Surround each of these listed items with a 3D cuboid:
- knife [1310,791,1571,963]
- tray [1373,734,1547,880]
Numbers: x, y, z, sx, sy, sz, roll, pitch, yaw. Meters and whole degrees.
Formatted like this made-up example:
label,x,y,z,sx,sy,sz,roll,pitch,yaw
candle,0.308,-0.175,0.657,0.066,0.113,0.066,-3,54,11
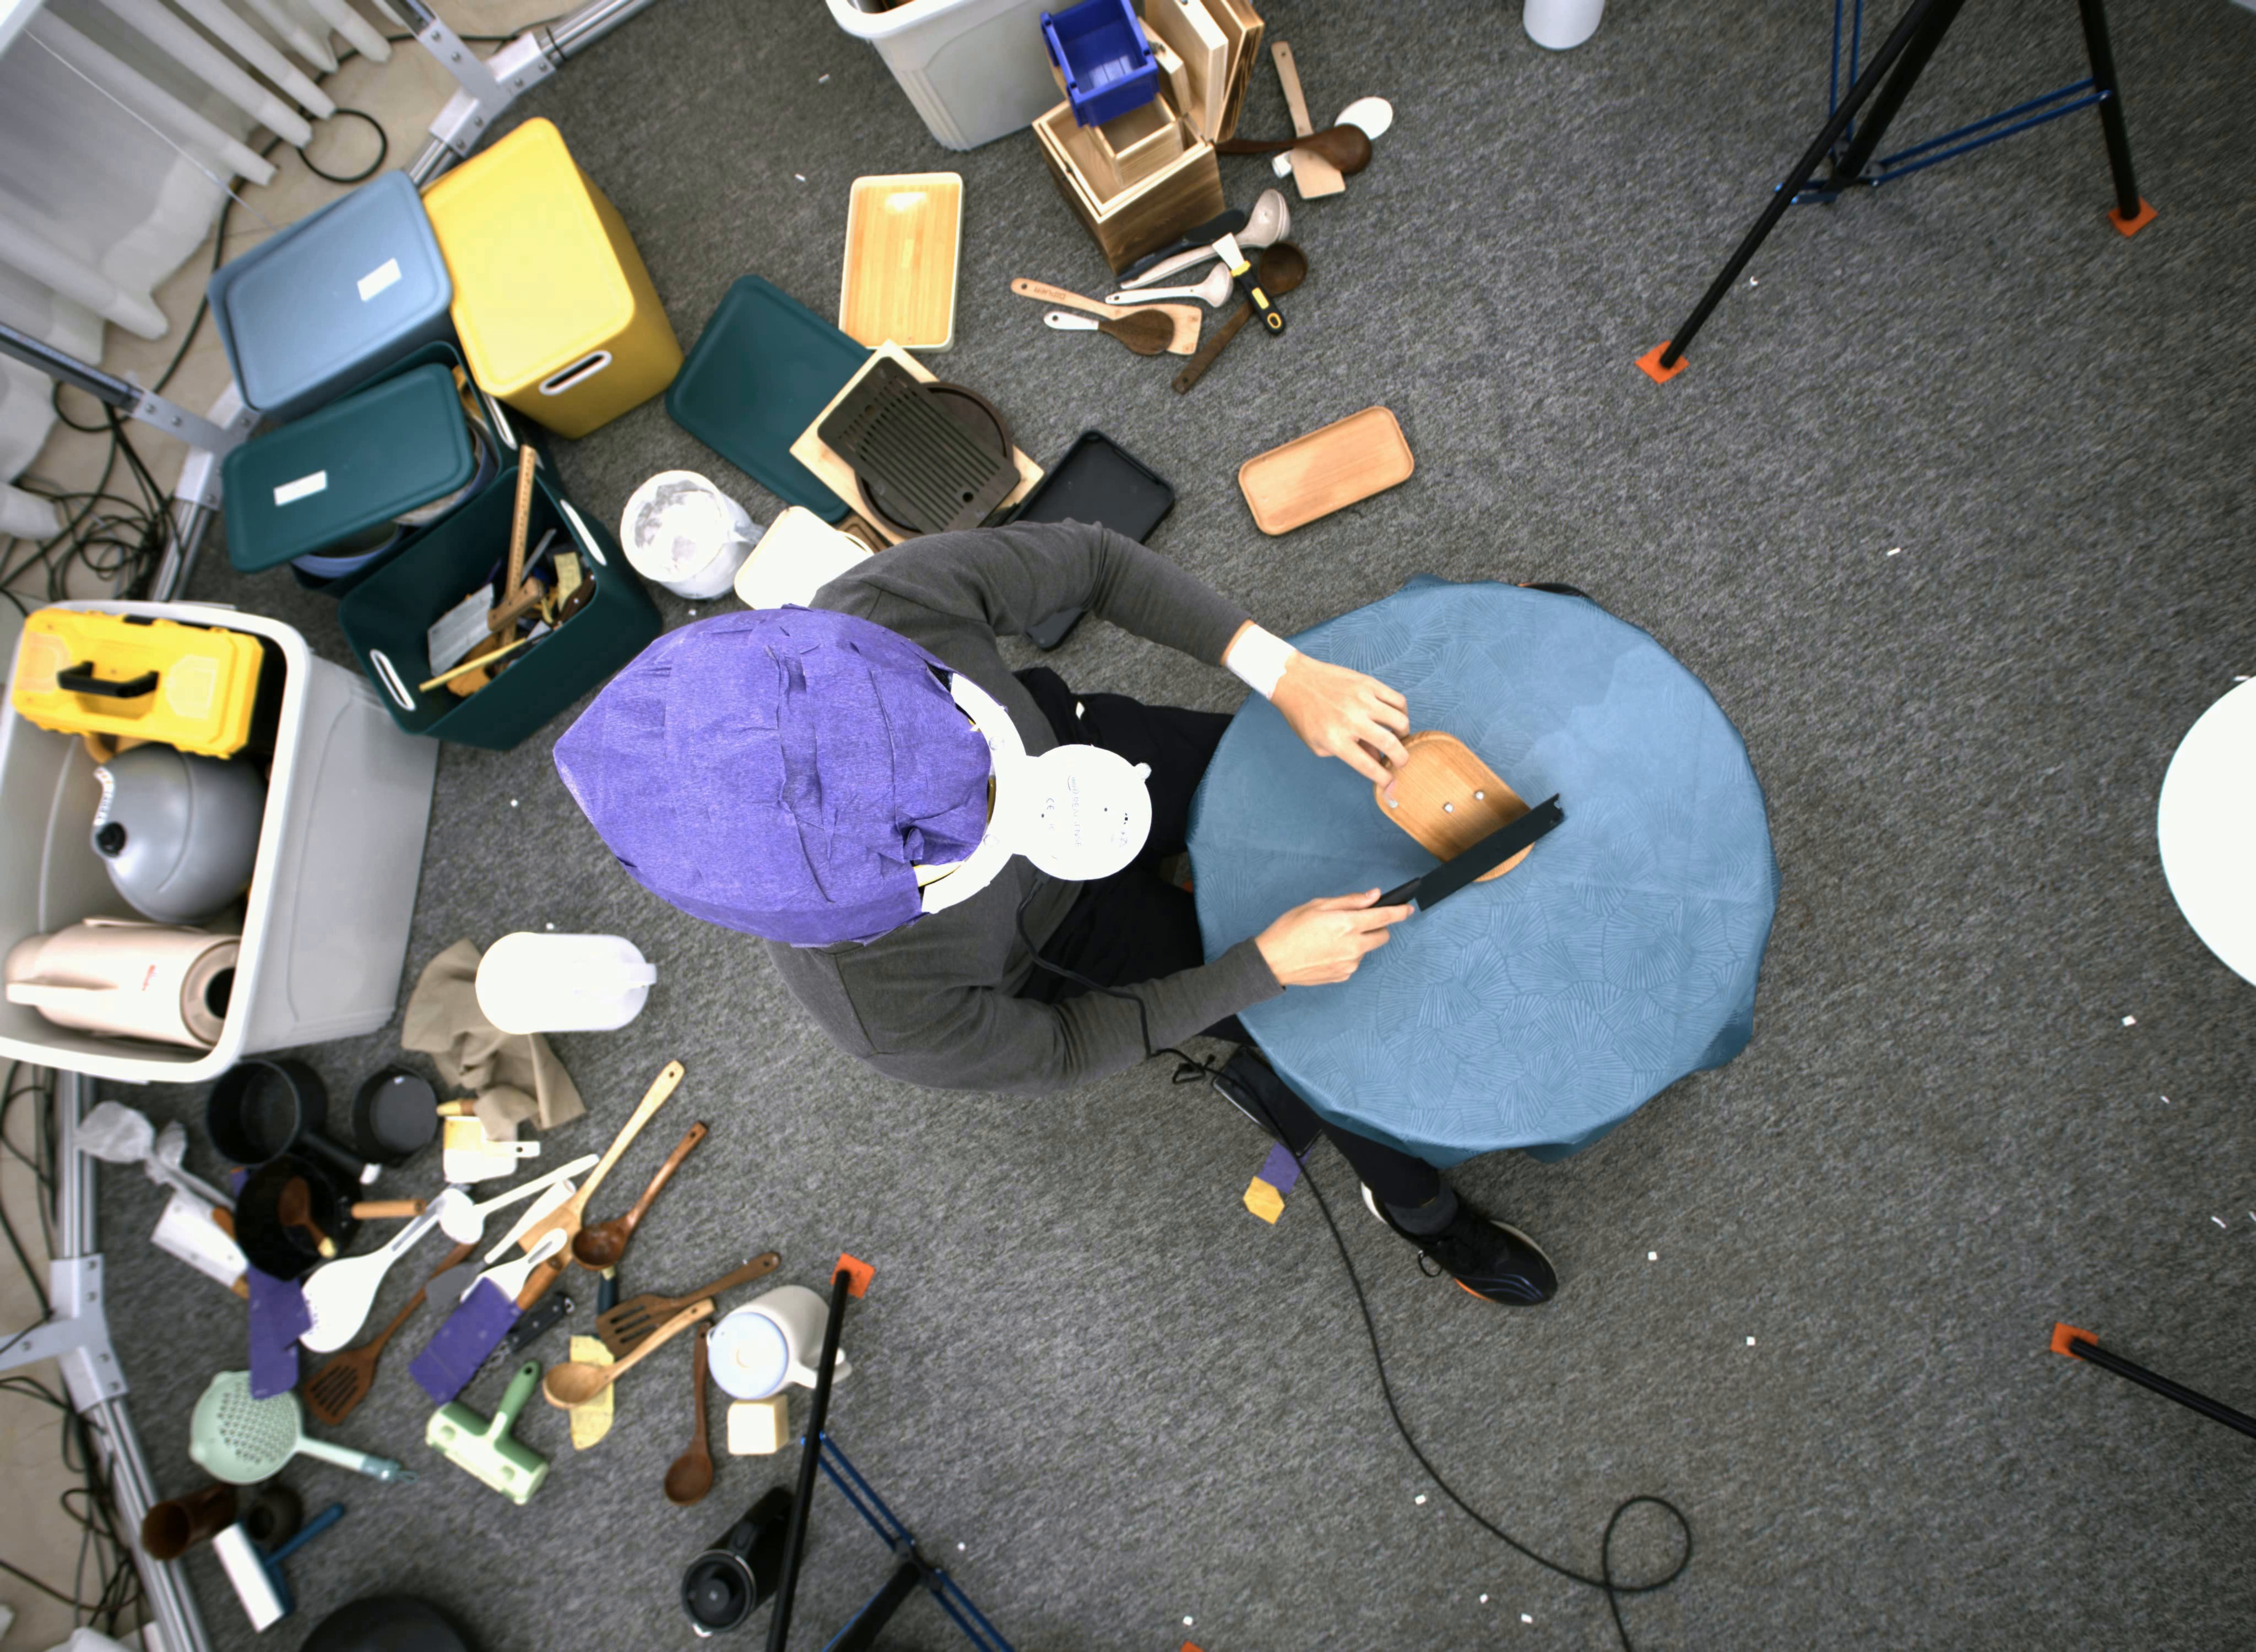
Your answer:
label,x,y,z,sx,sy,sz,roll,pitch,yaw
knife,0.315,0.053,1.382,0.303,0.082,0.020,-29,56,1
tray,0.331,-0.019,1.365,0.103,0.233,0.020,-45,38,20
